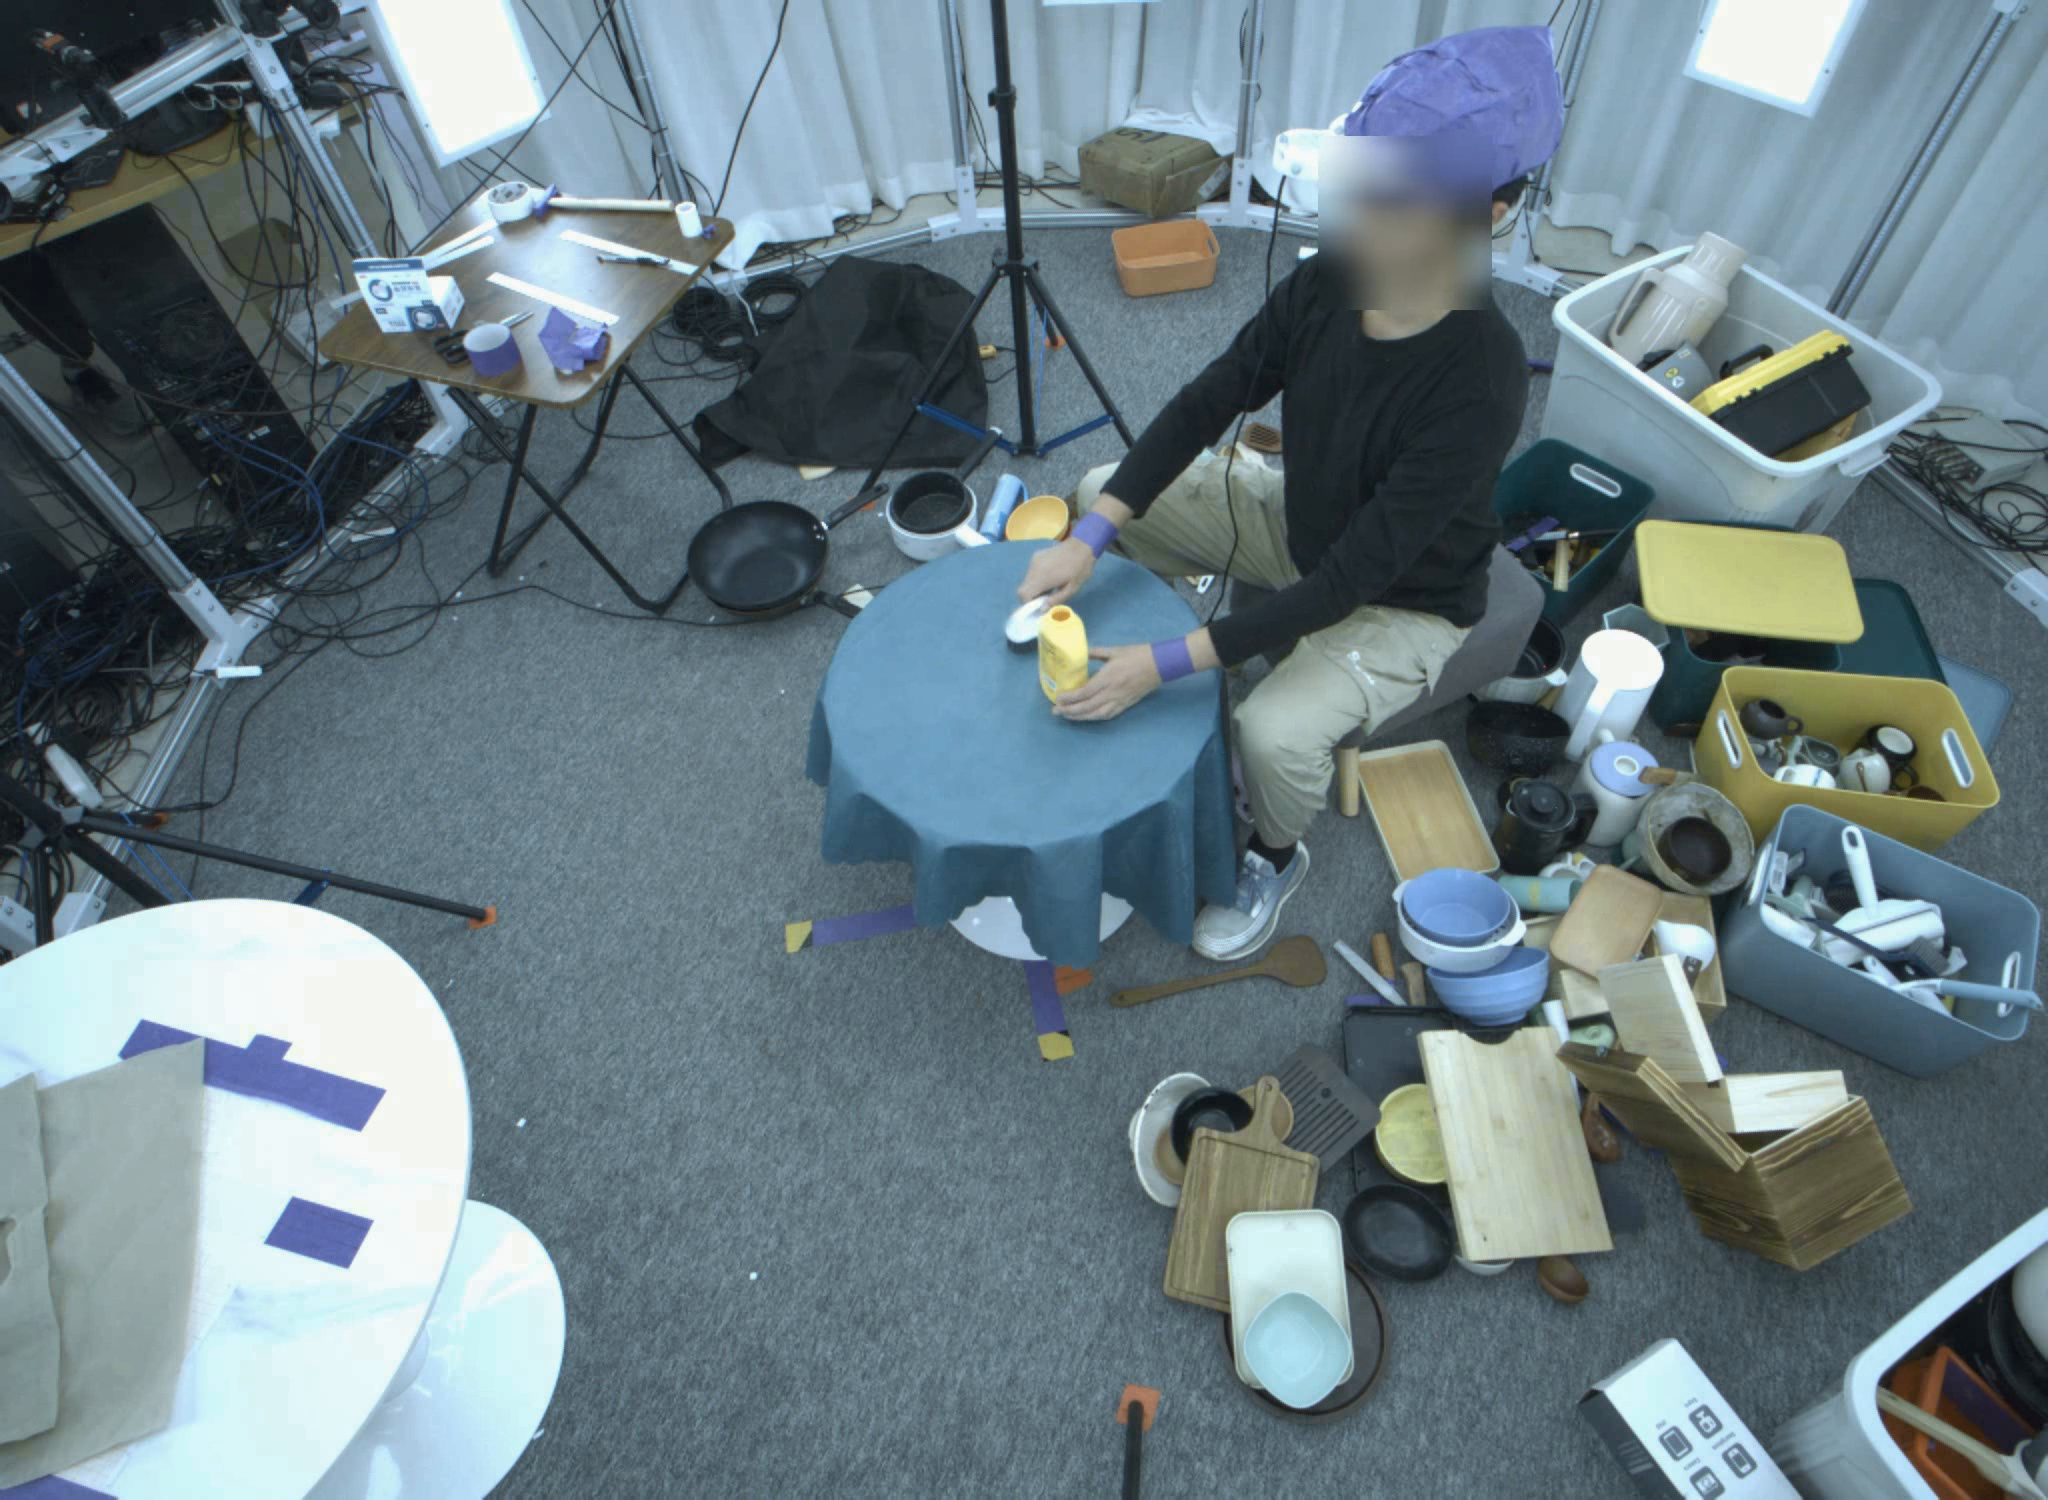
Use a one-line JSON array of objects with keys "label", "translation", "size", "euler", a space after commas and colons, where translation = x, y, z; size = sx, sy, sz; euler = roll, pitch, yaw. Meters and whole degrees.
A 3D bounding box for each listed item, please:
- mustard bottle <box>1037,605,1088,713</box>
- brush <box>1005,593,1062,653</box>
[{"label": "mustard bottle", "translation": [0.055, -0.139, 1.783], "size": [0.060, 0.174, 0.096], "euler": [-31, 56, -20]}, {"label": "brush", "translation": [0.014, -0.203, 1.887], "size": [0.100, 0.073, 0.049], "euler": [-32, 60, -17]}]
